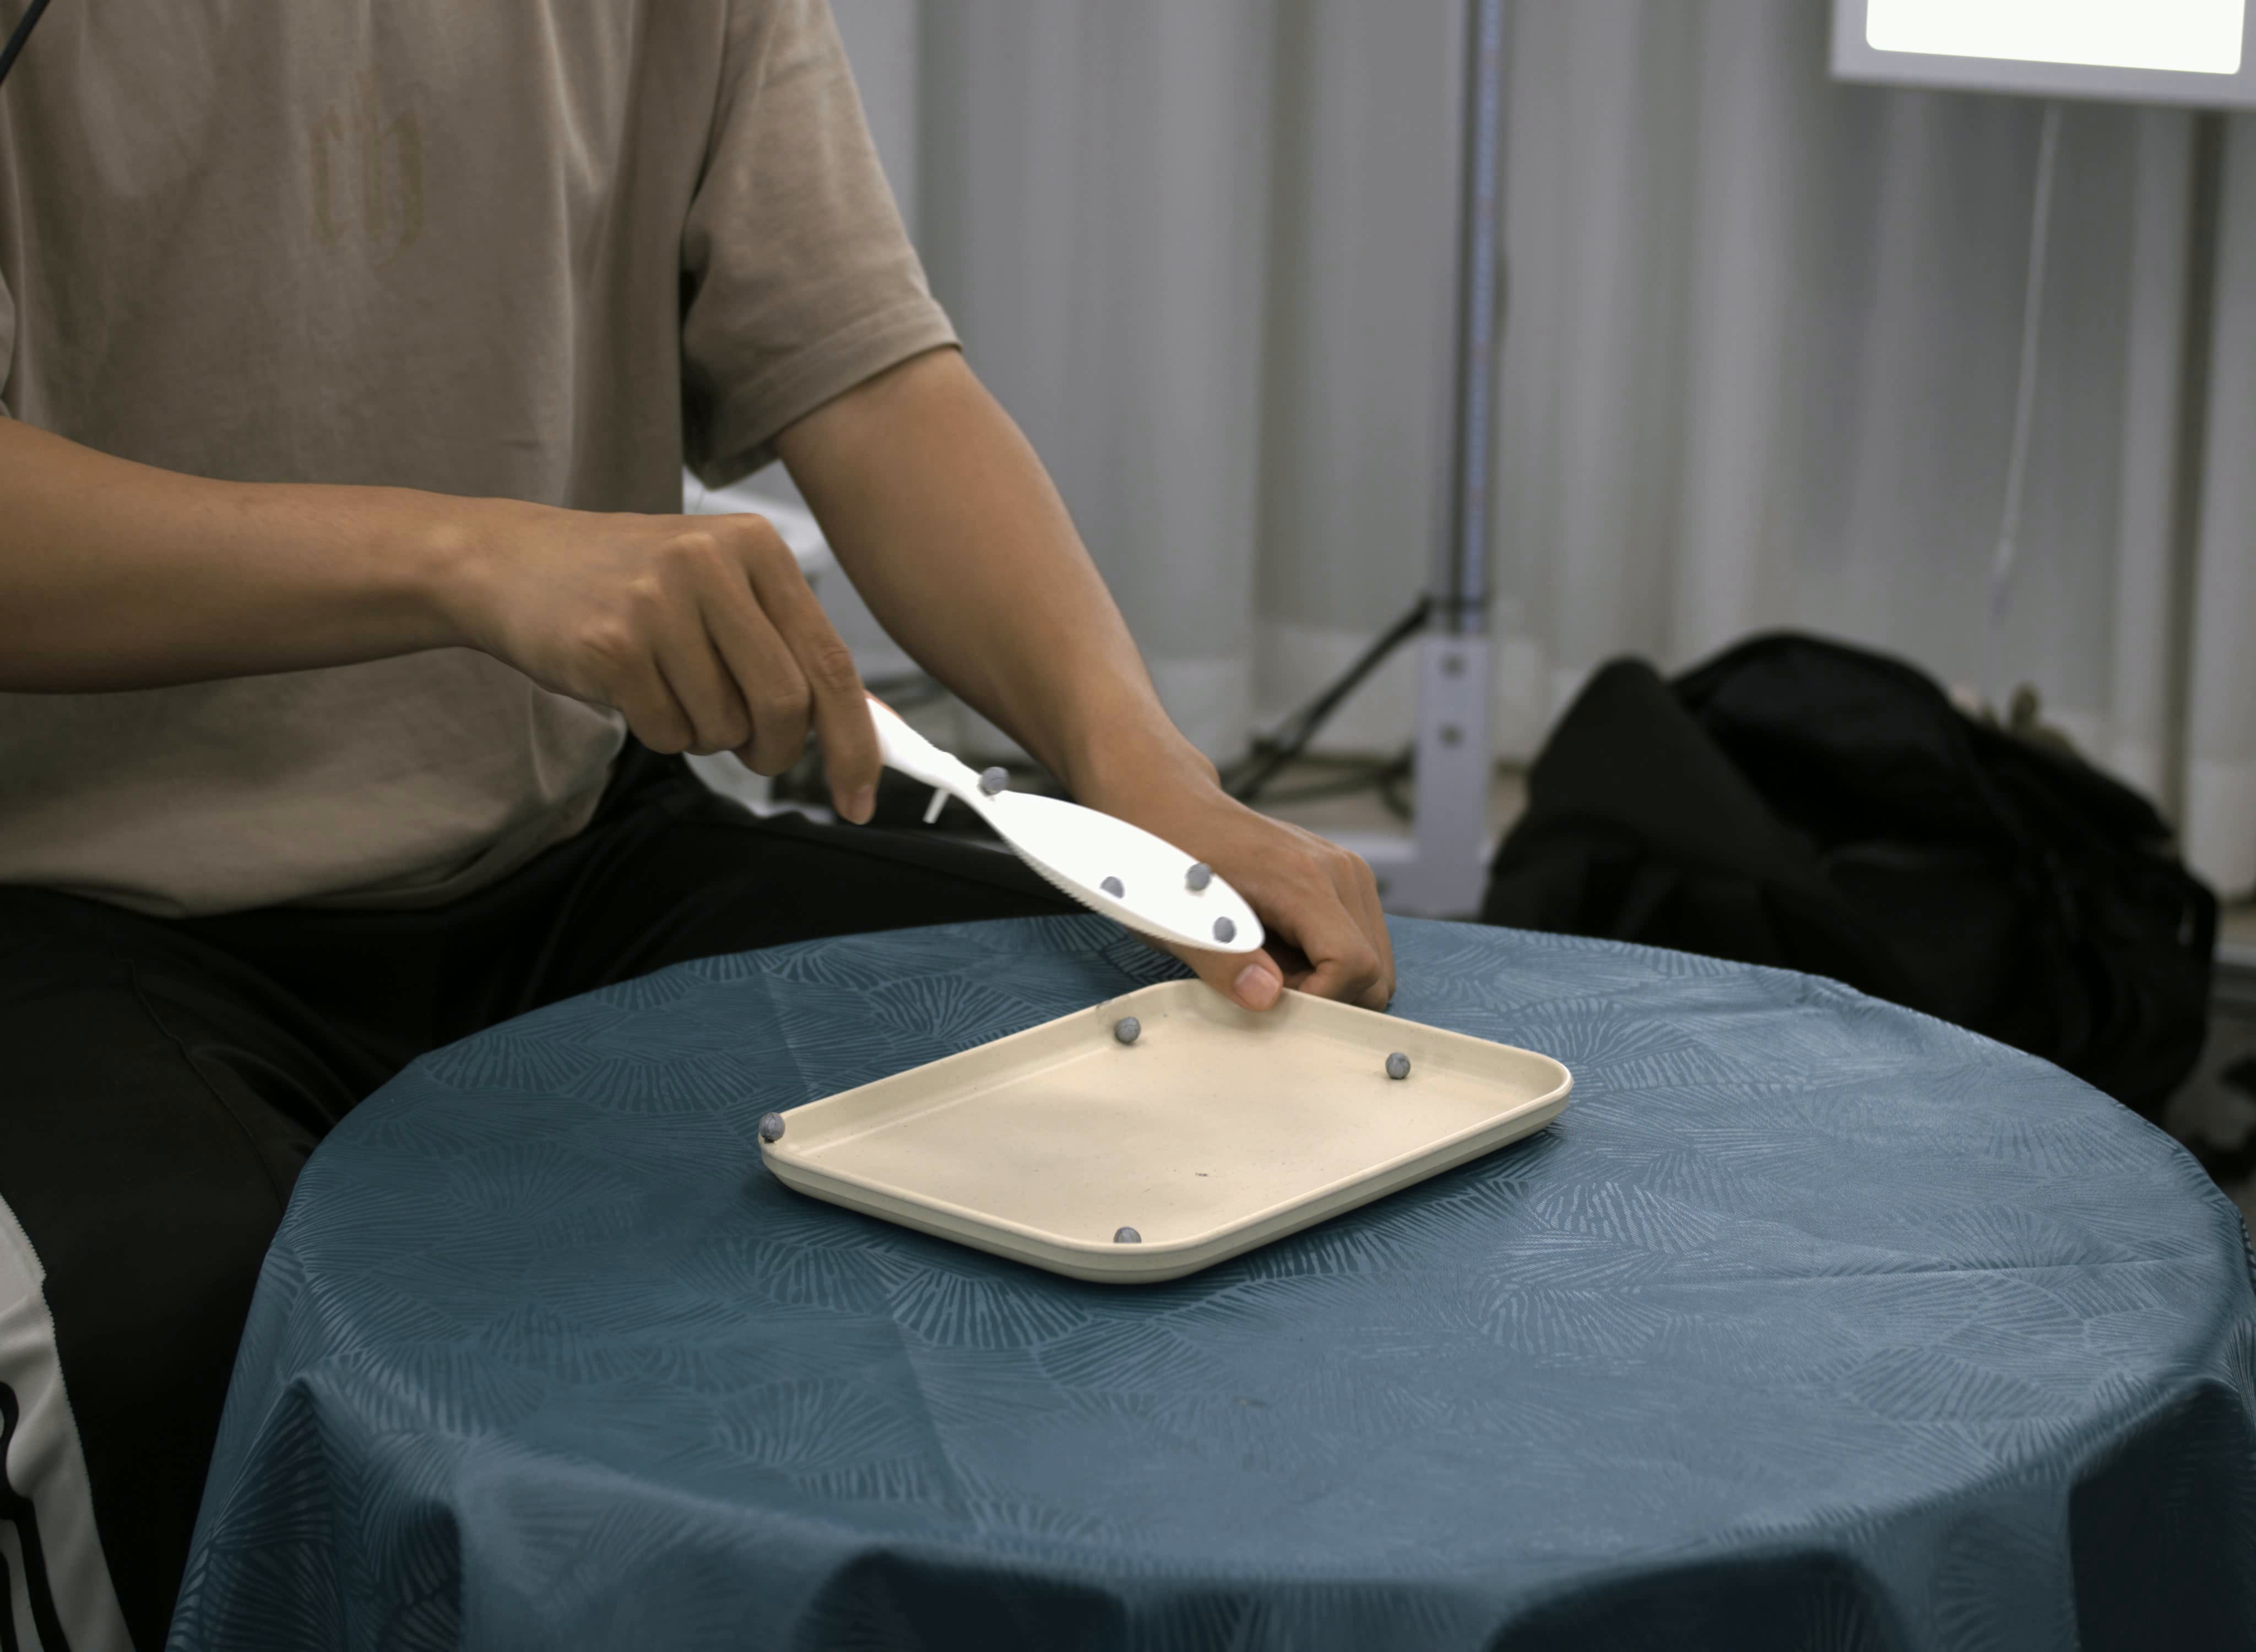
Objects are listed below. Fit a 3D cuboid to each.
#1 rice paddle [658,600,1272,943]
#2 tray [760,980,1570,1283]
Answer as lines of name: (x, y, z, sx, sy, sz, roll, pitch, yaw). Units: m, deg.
rice paddle: (-0.046, -0.013, 1.624, 0.205, 0.029, 0.068, 25, 20, -5)
tray: (0.014, 0.095, 1.657, 0.169, 0.017, 0.241, 14, 20, 38)
